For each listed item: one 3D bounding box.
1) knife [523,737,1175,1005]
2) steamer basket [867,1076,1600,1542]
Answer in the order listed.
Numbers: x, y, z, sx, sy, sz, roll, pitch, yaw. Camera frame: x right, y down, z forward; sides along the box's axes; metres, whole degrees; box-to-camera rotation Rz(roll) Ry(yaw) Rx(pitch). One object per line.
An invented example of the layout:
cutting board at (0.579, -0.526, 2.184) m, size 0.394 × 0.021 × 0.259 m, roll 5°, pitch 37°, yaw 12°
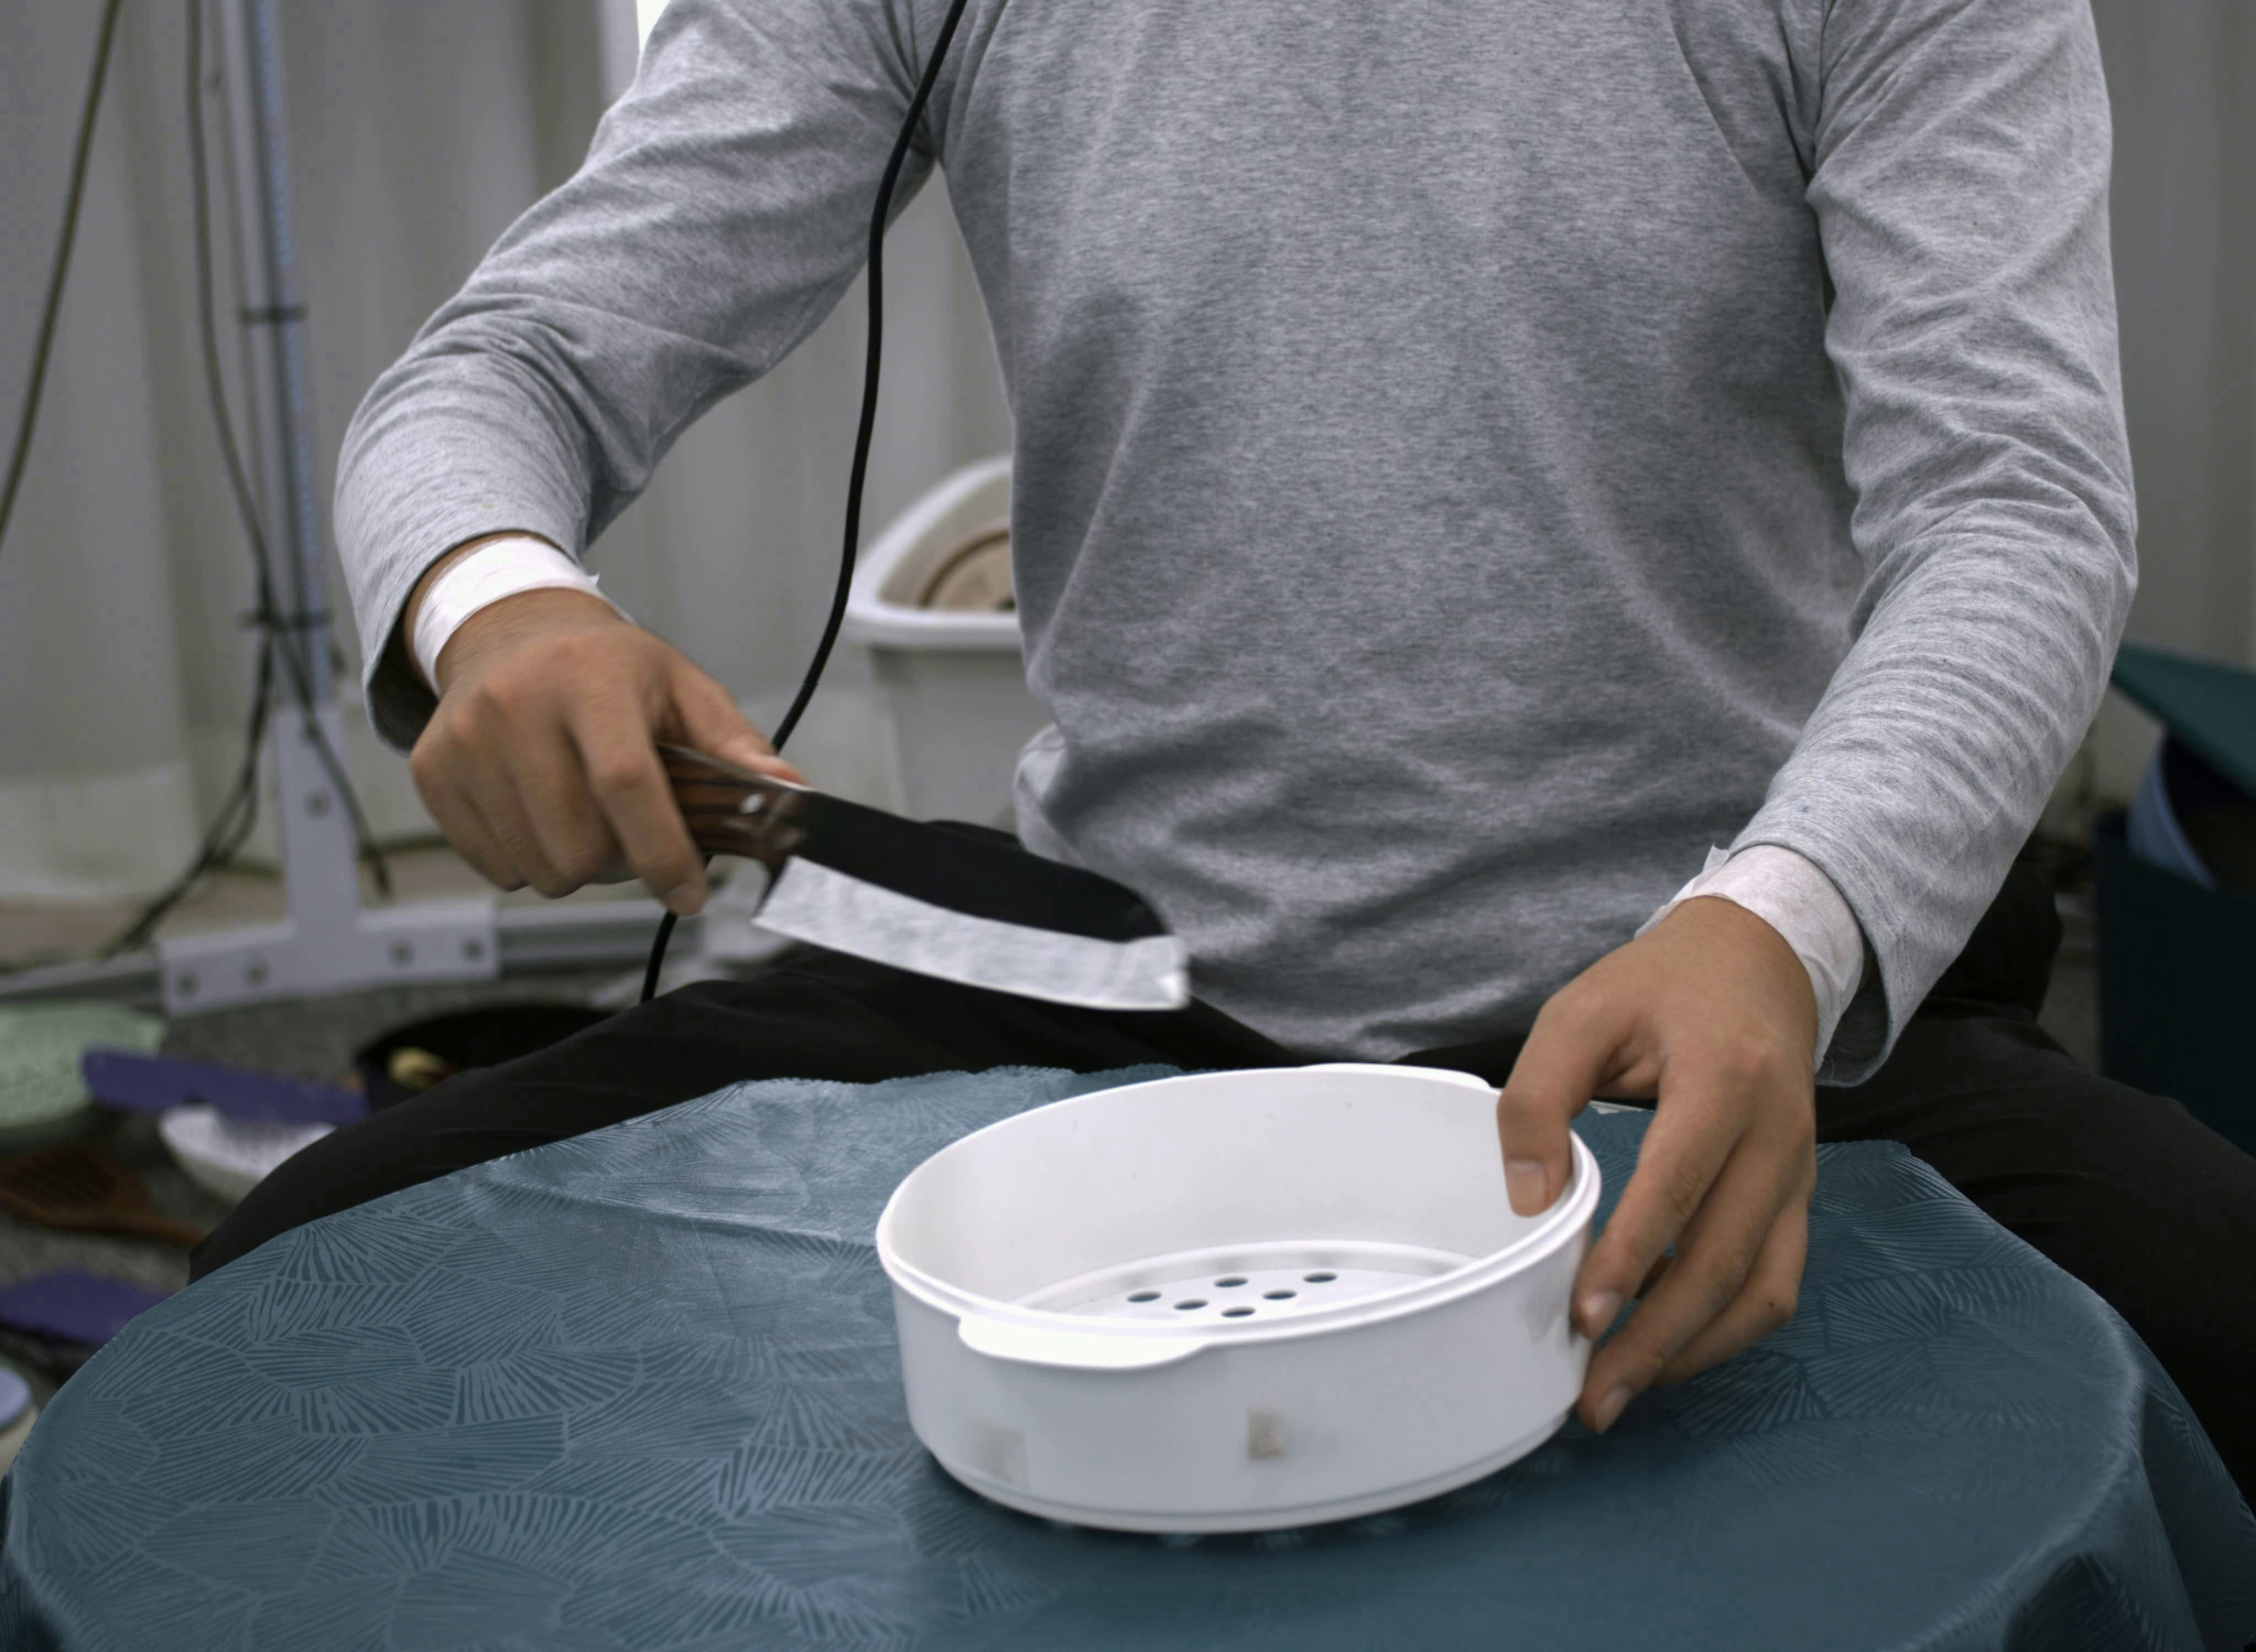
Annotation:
knife at (-0.083, 0.012, 1.550) m, size 0.291 × 0.050 × 0.020 m, roll 18°, pitch -19°, yaw 47°
steamer basket at (0.031, 0.132, 1.504) m, size 0.202 × 0.069 × 0.231 m, roll 3°, pitch 18°, yaw 27°
